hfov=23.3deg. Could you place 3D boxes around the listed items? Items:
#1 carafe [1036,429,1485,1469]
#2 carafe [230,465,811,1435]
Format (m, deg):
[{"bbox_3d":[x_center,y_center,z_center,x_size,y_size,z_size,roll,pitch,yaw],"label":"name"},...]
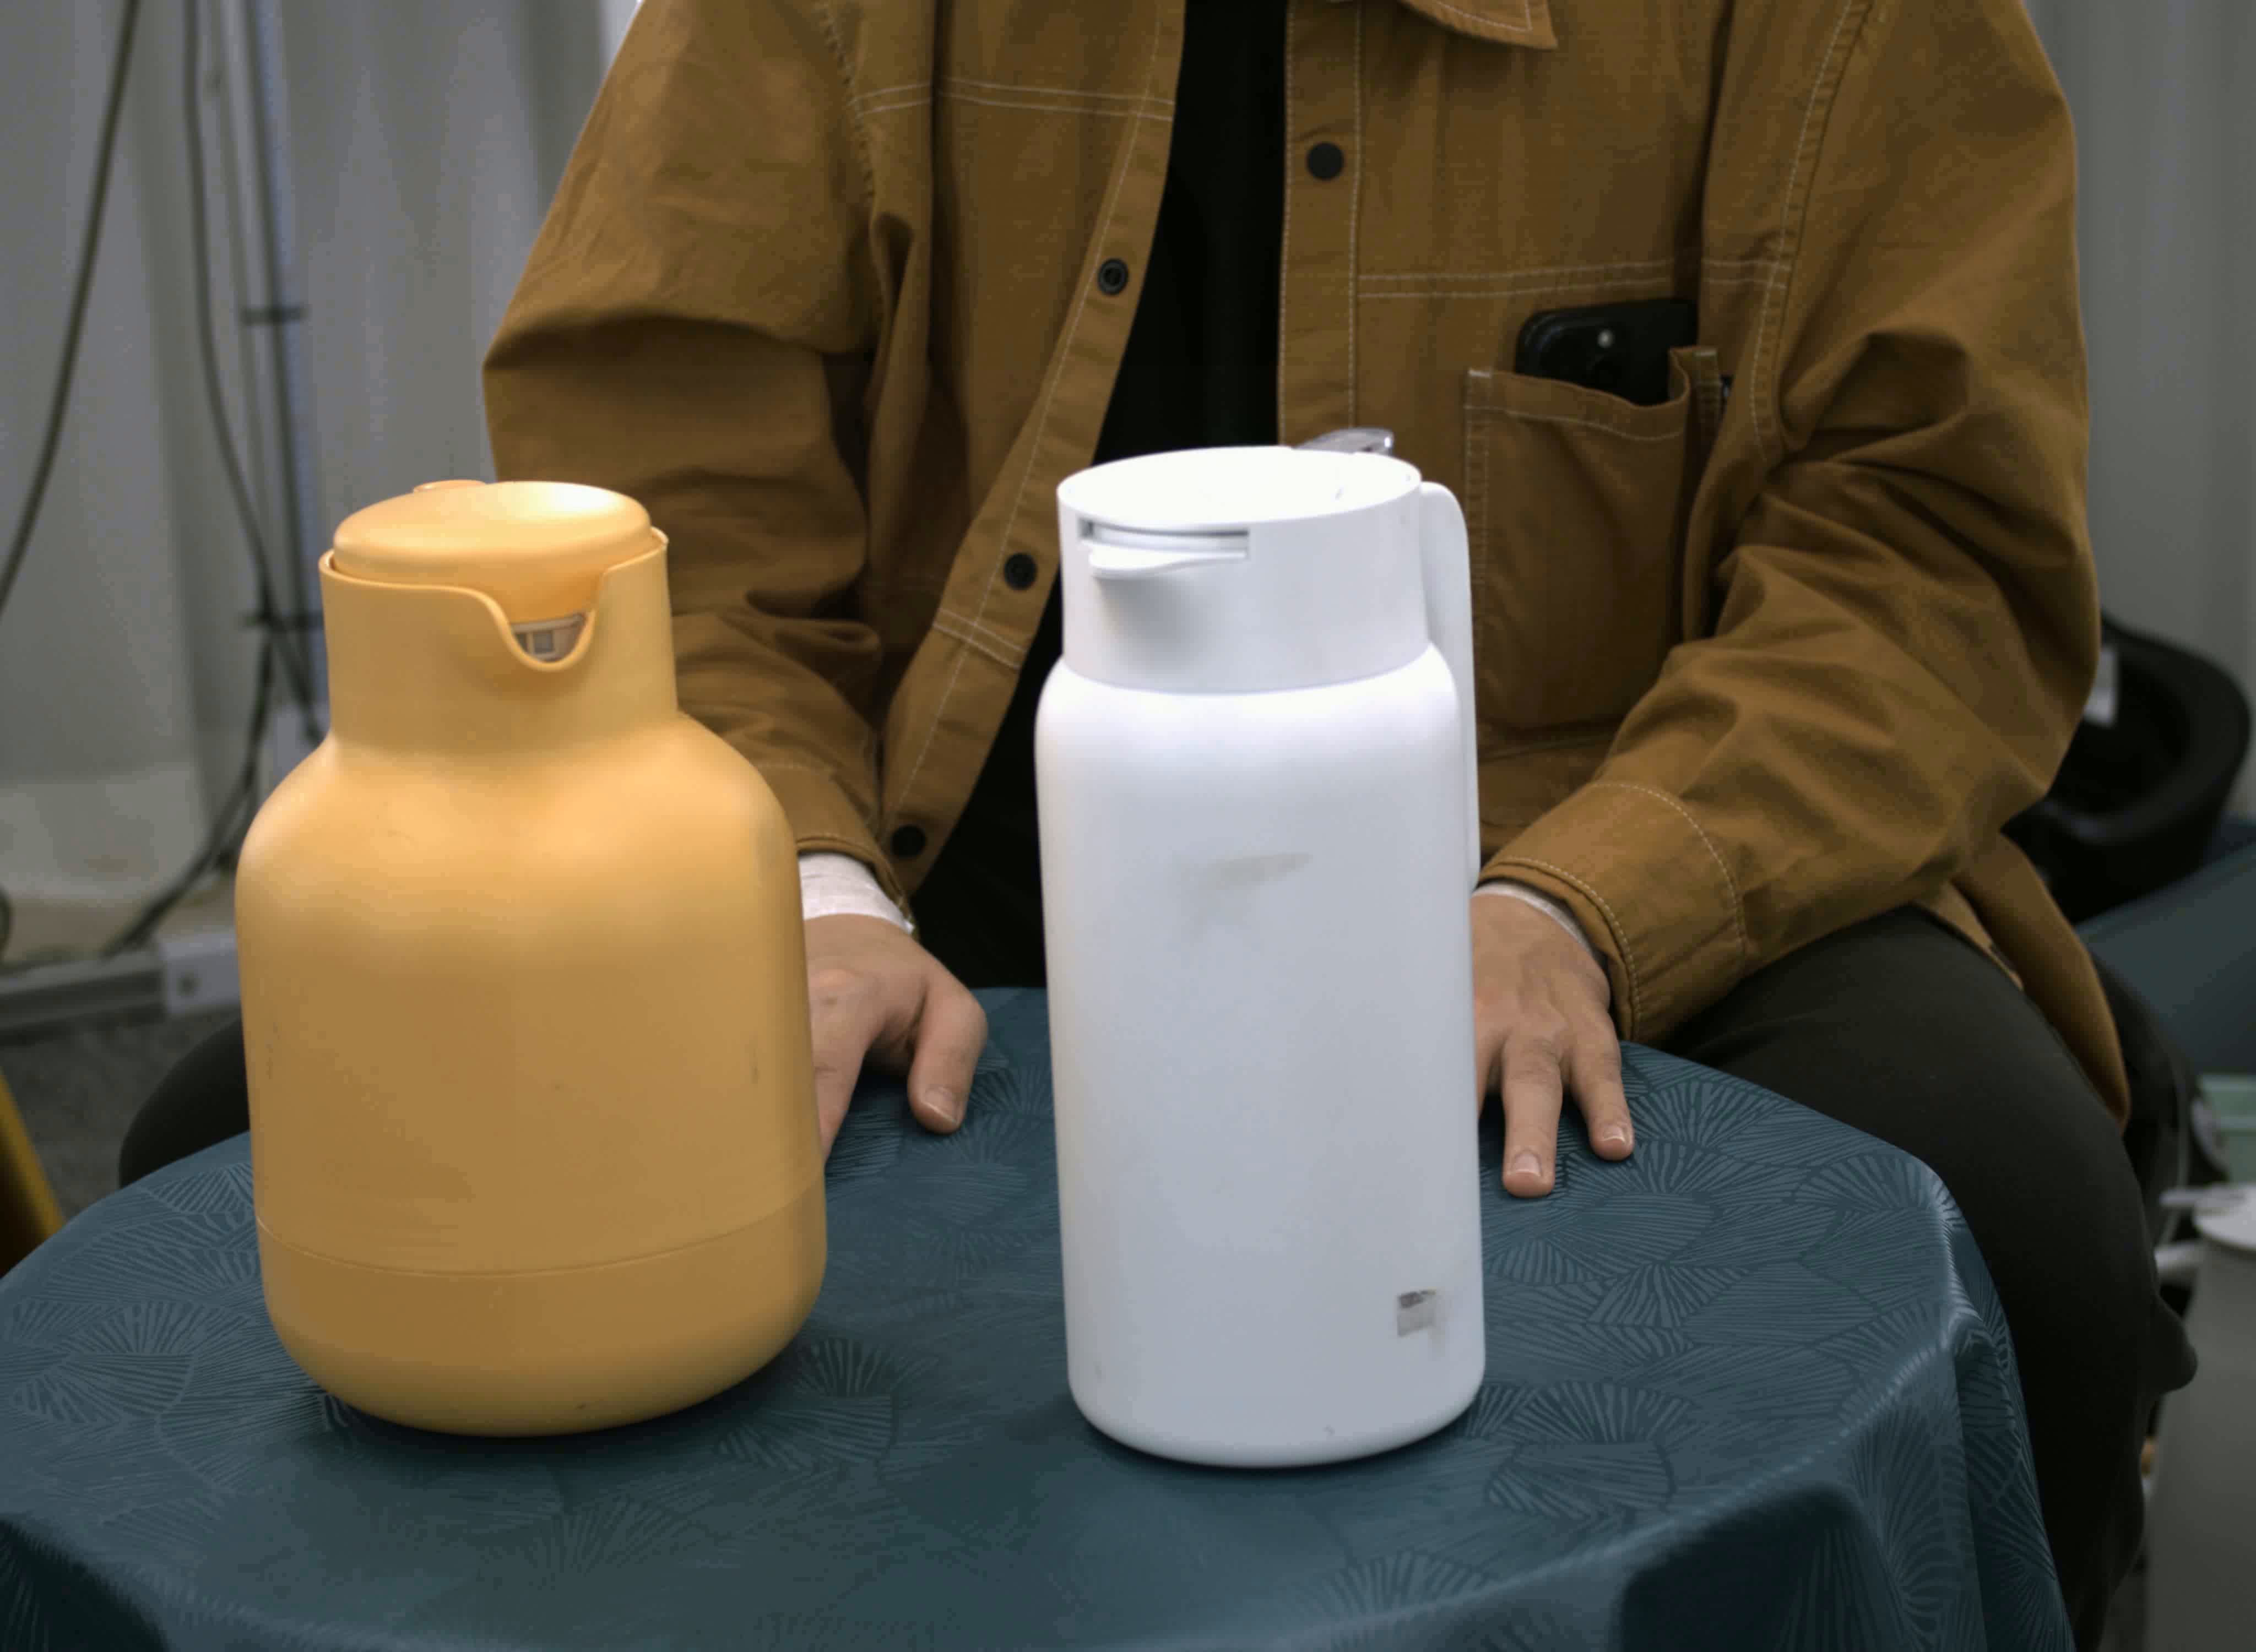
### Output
[{"bbox_3d":[0.044,0.029,1.512,0.124,0.268,0.173,3,15,31],"label":"carafe"},{"bbox_3d":[-0.177,0.027,1.572,0.162,0.259,0.204,-3,15,-15],"label":"carafe"}]
